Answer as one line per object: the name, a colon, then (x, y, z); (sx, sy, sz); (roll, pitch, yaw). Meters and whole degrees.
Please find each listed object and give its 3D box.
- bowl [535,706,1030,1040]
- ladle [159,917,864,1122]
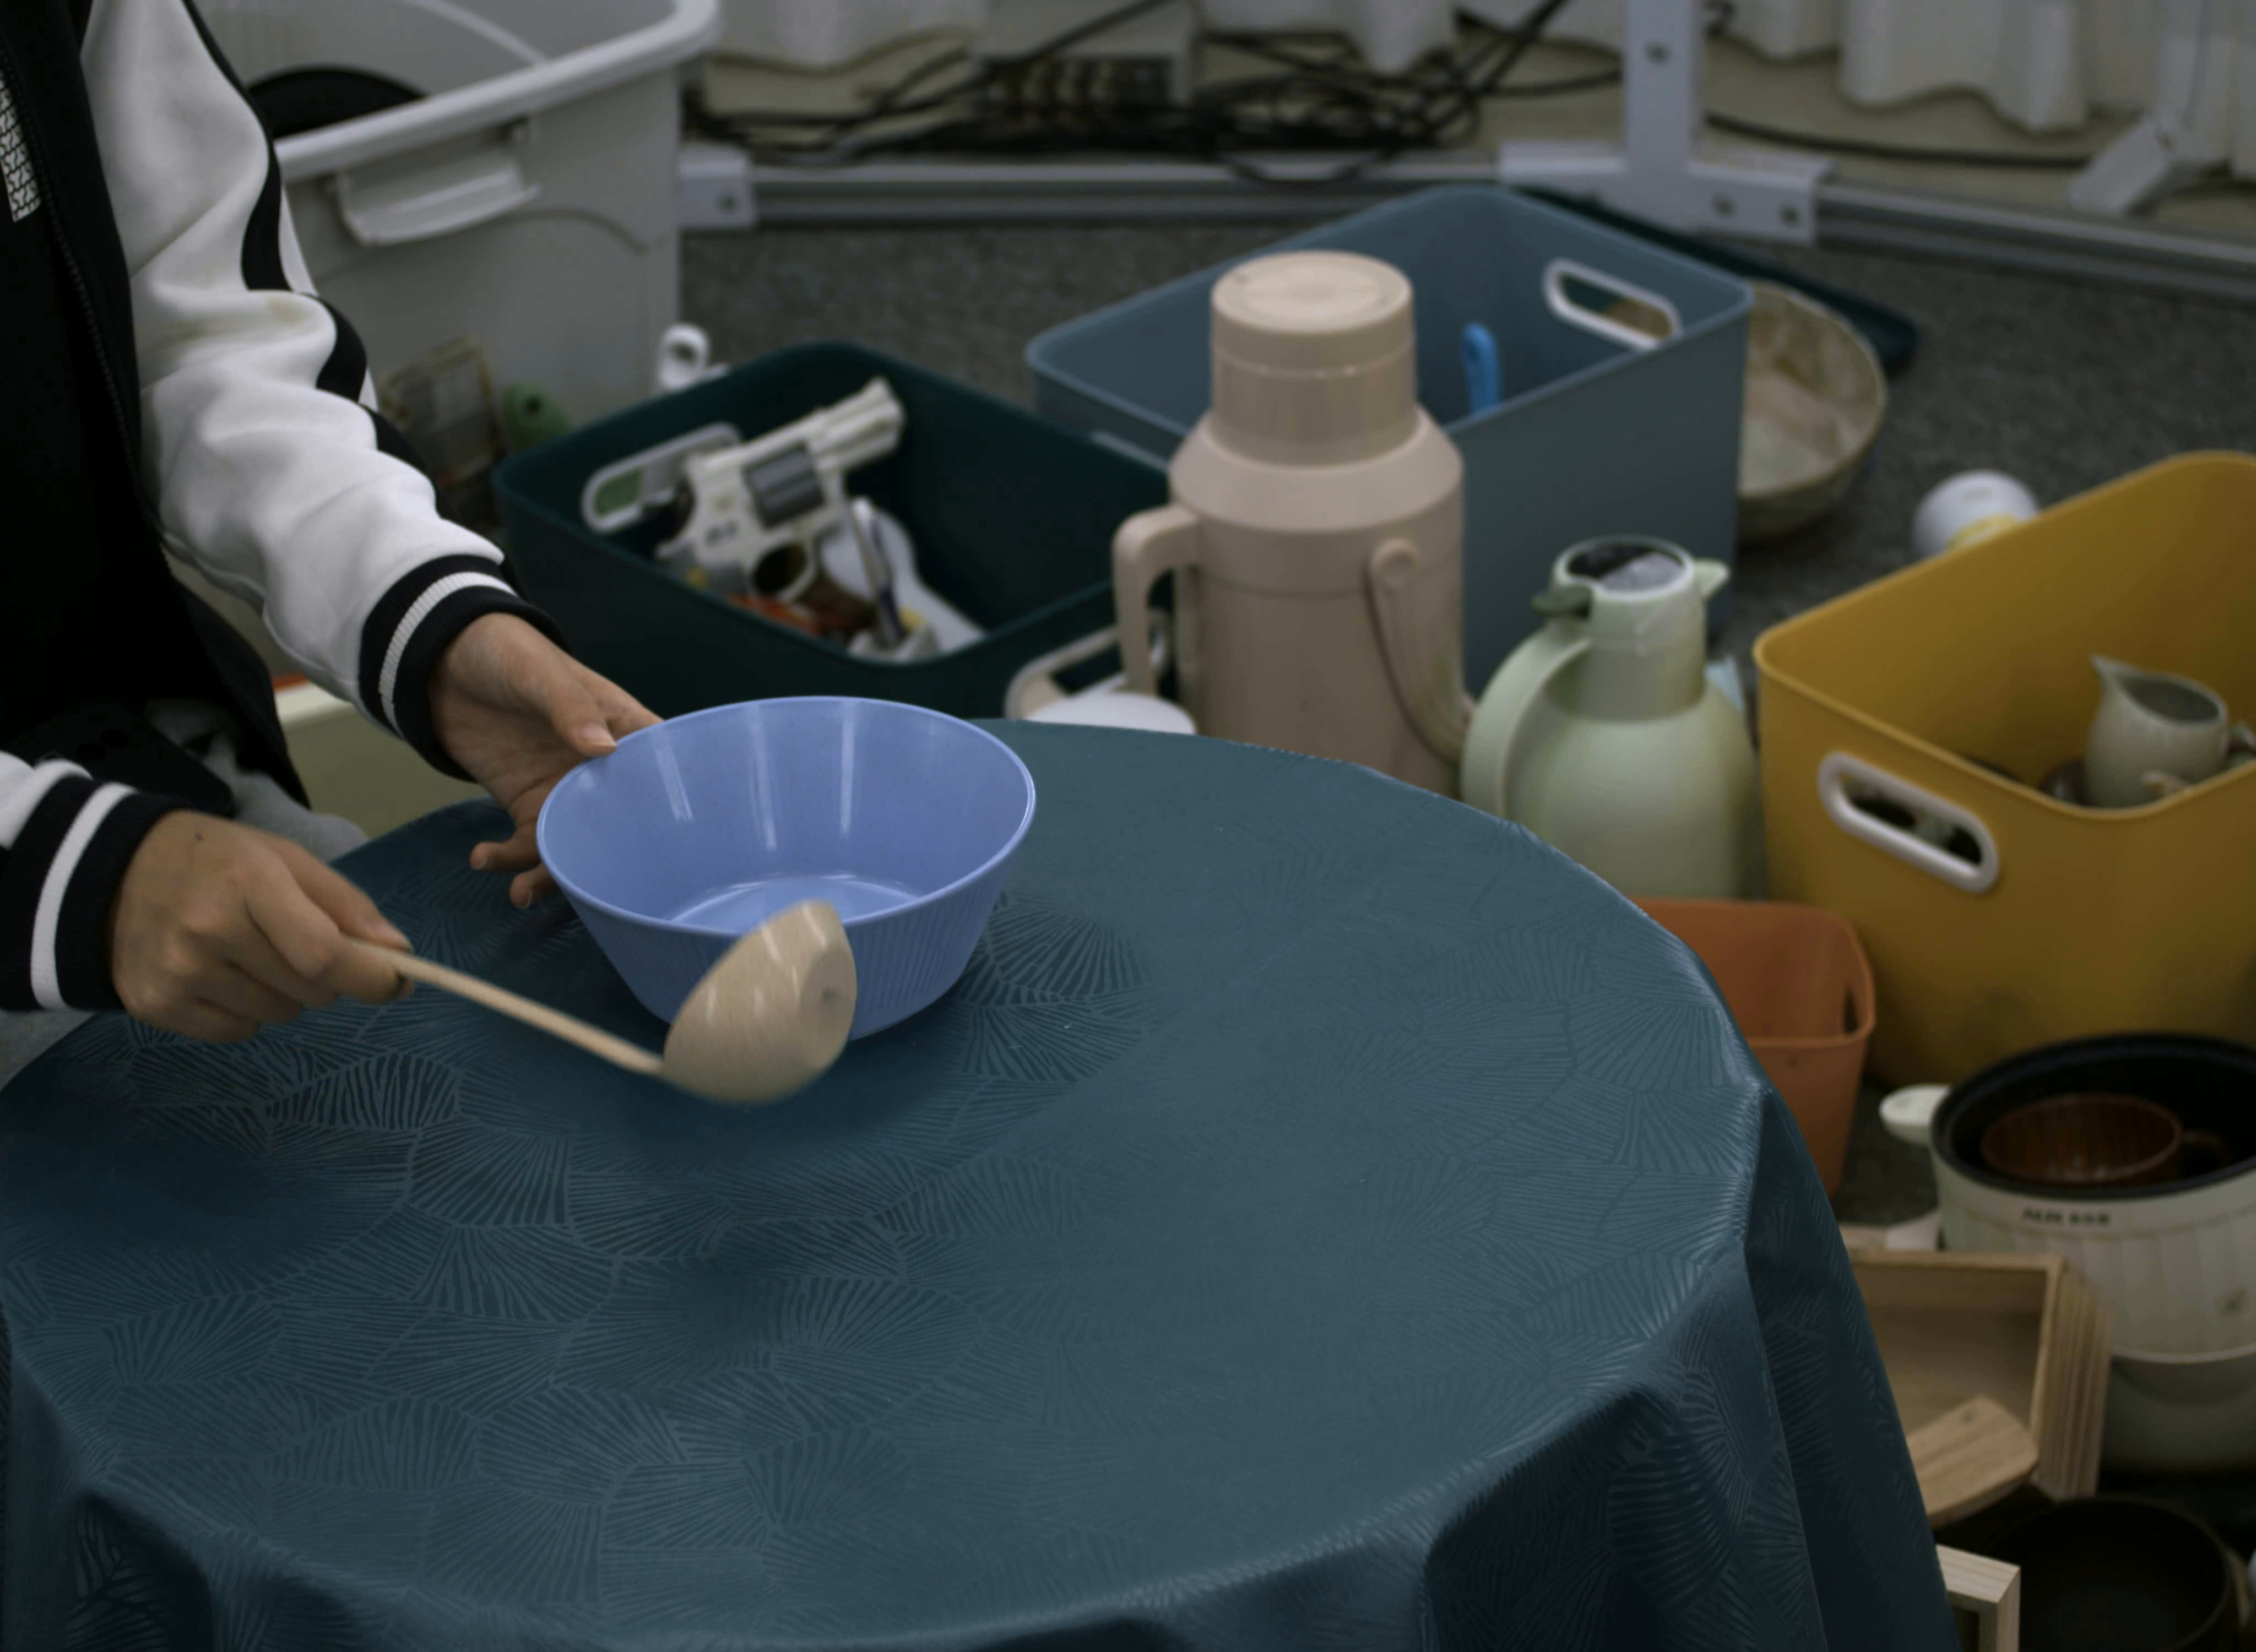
bowl: (-0.120, 0.024, 1.987); (0.175, 0.069, 0.179); (-1, 26, 1)
ladle: (-0.205, 0.035, 1.850); (0.253, 0.073, 0.072); (16, 3, 22)
